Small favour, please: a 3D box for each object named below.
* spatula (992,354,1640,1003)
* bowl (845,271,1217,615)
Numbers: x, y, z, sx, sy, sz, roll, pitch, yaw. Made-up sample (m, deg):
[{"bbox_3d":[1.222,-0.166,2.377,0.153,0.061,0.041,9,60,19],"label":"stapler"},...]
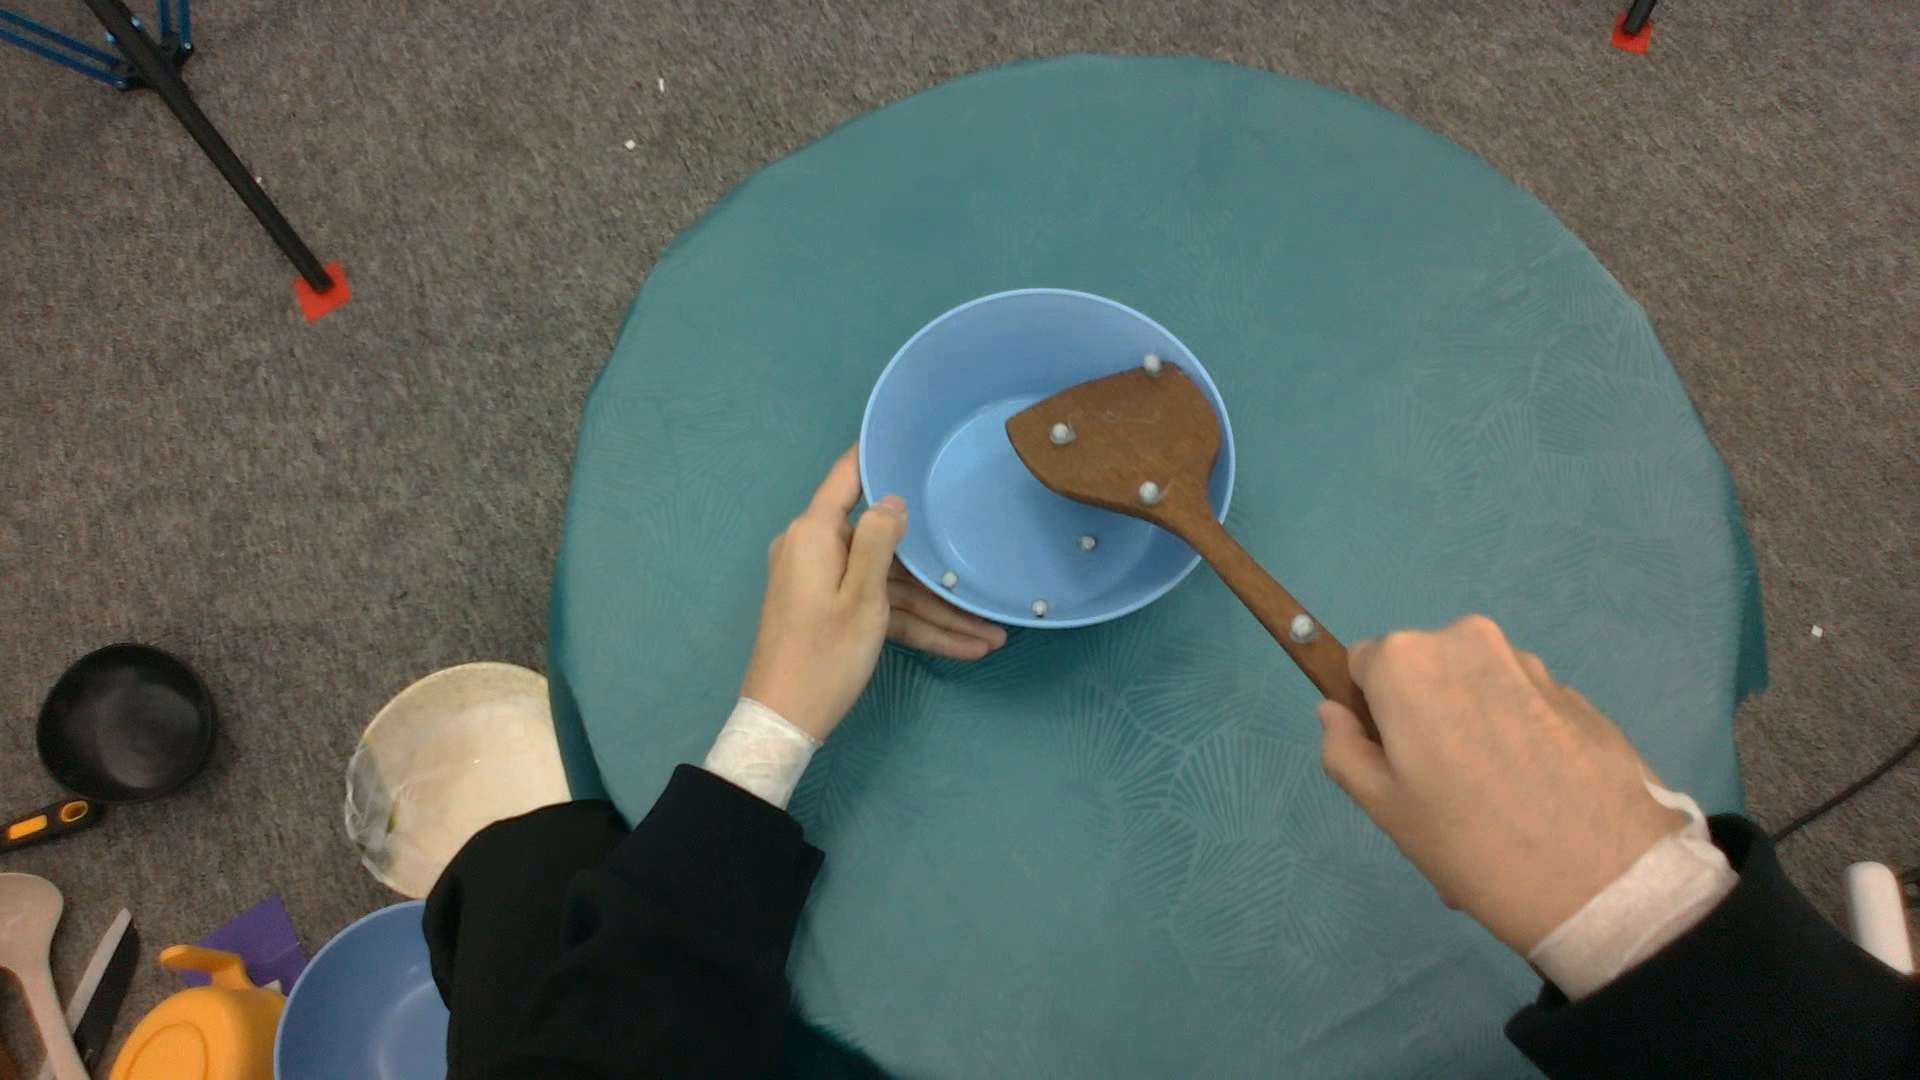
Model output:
[{"bbox_3d":[0.118,0.022,0.528,0.096,0.016,0.387,-20,37,-10],"label":"spatula"},{"bbox_3d":[0.033,-0.039,0.674,0.176,0.070,0.176,0,70,-1],"label":"bowl"}]
